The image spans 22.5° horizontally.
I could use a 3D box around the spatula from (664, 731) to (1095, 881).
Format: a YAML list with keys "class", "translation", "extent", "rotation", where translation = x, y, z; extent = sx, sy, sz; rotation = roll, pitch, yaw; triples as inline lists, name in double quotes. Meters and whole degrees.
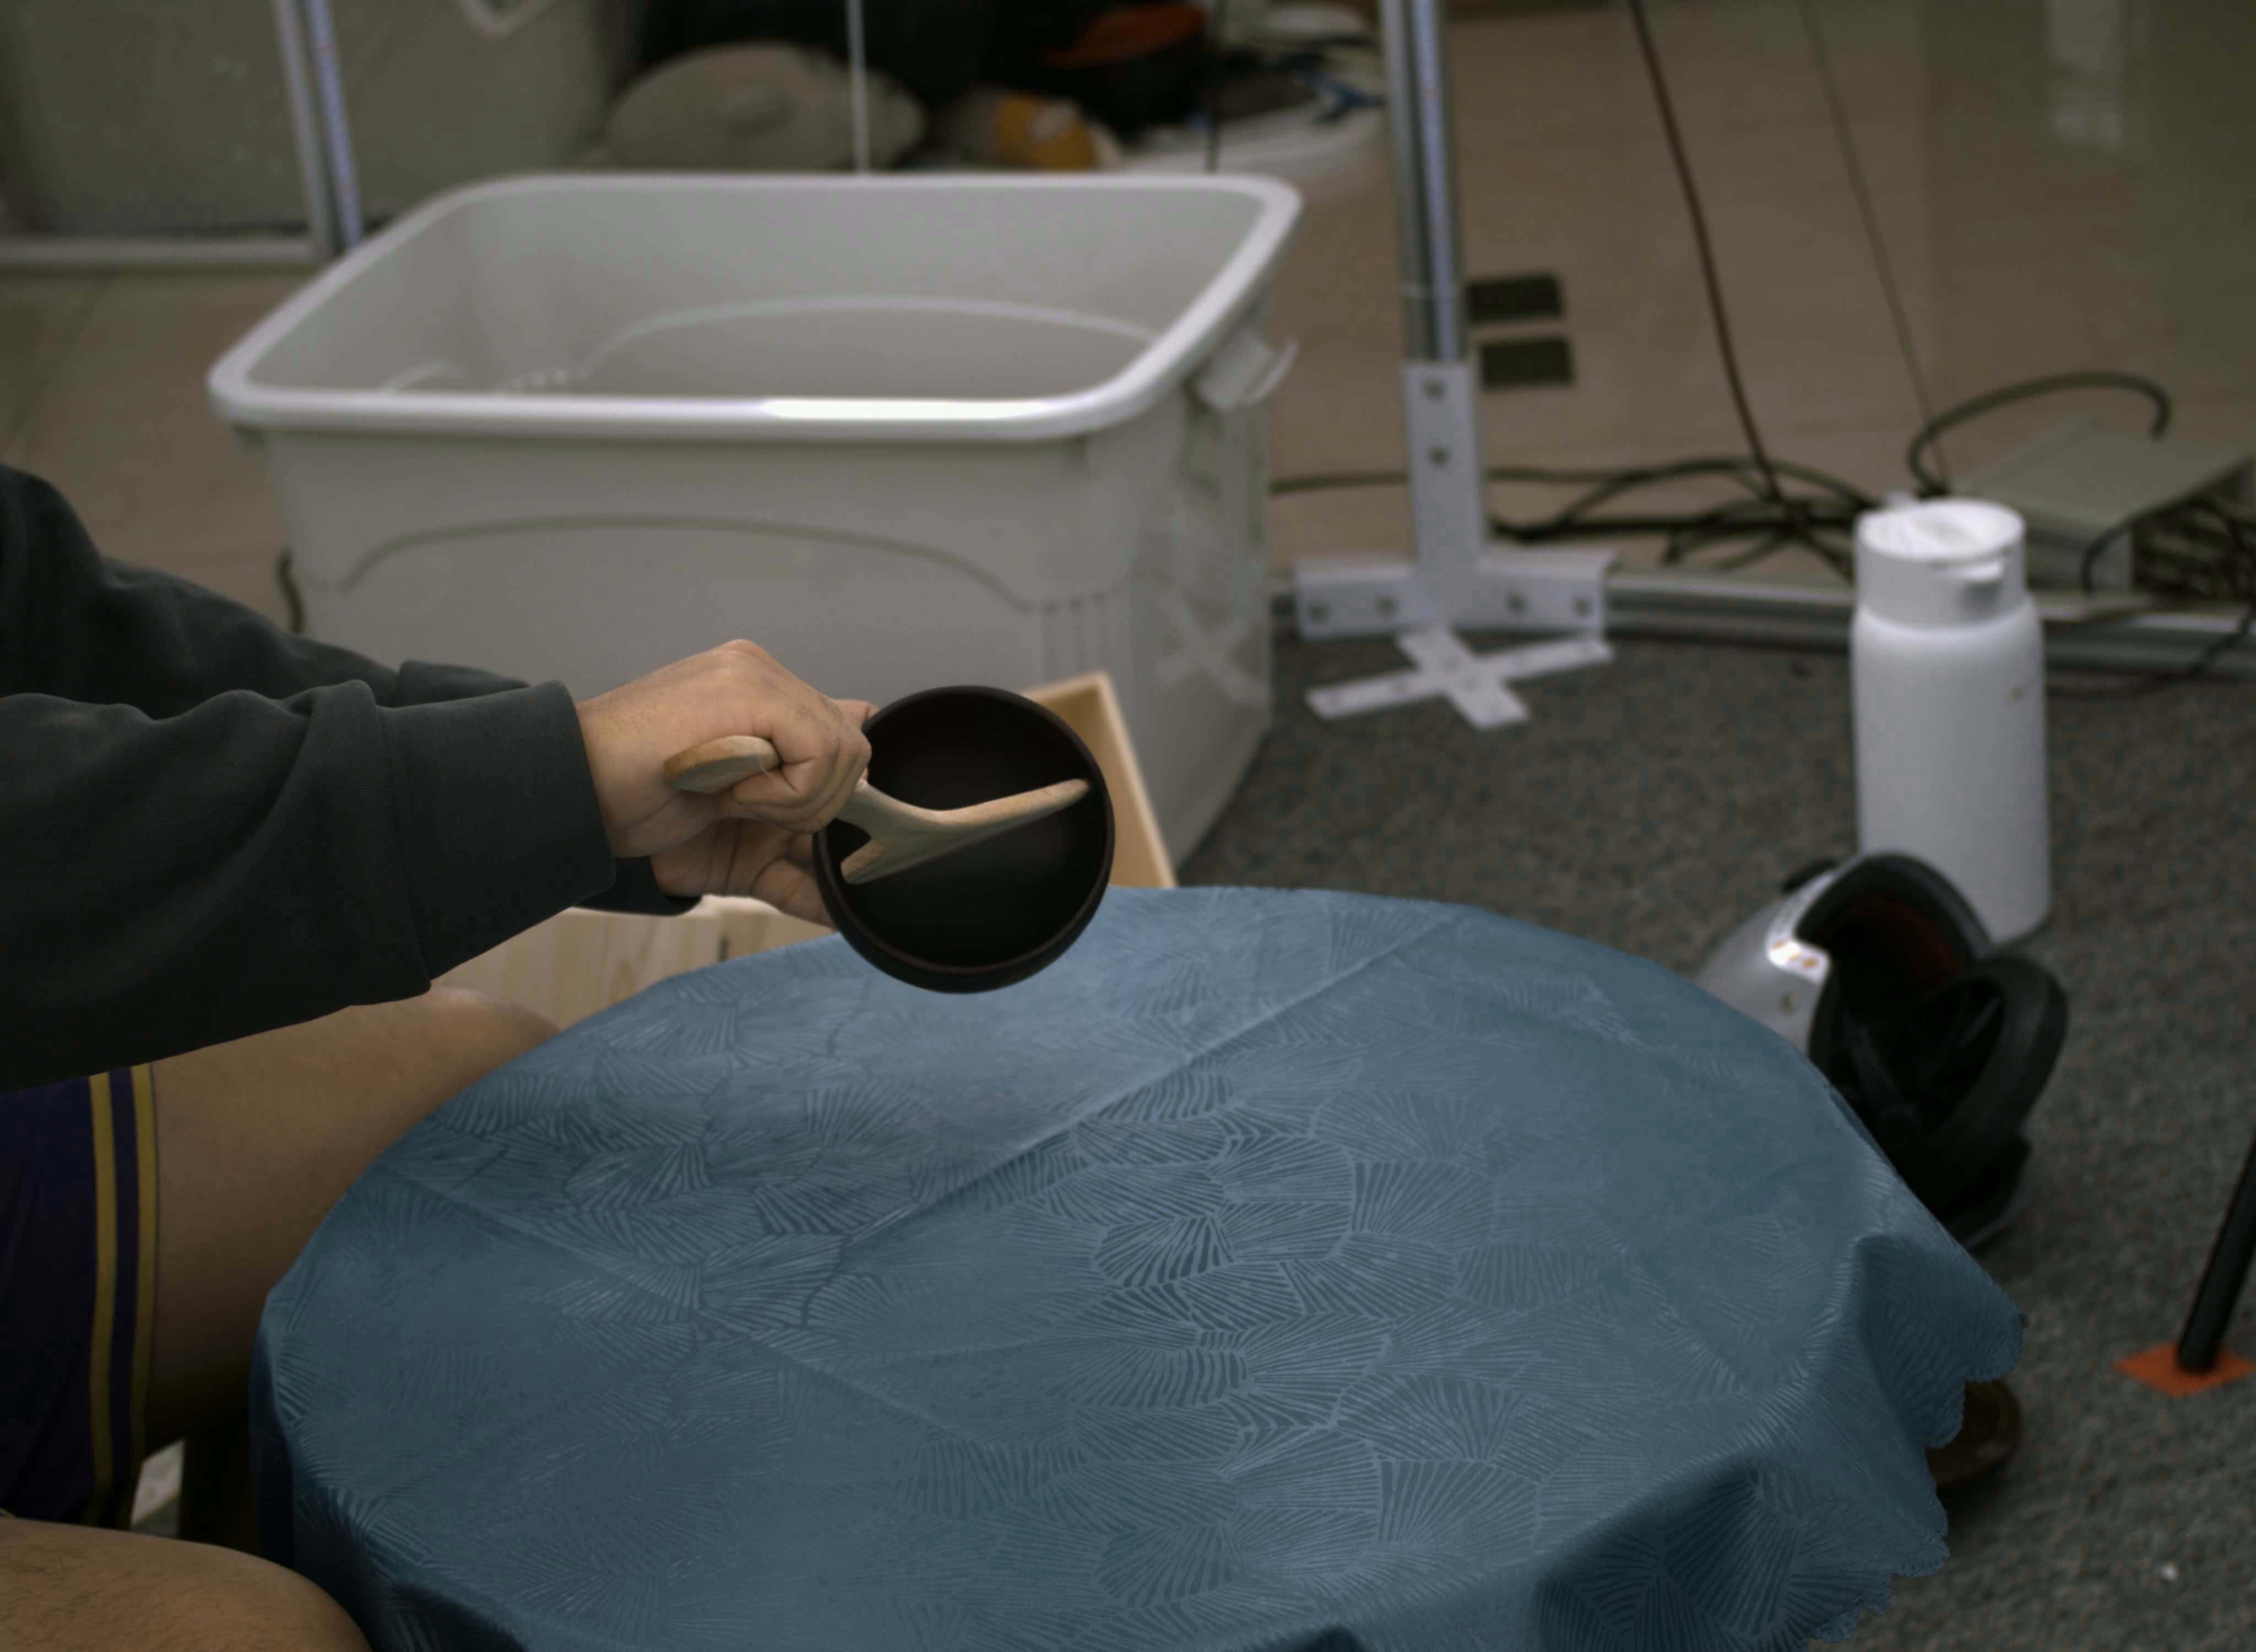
- class: "spatula"
  translation: [-0.092, -0.012, 1.974]
  extent: [0.096, 0.018, 0.392]
  rotation: [-22, -10, 10]

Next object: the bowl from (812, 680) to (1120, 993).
- class: "bowl"
  translation: [-0.061, 0.008, 2.179]
  extent: [0.118, 0.117, 0.070]
  rotation: [-5, -11, 3]
